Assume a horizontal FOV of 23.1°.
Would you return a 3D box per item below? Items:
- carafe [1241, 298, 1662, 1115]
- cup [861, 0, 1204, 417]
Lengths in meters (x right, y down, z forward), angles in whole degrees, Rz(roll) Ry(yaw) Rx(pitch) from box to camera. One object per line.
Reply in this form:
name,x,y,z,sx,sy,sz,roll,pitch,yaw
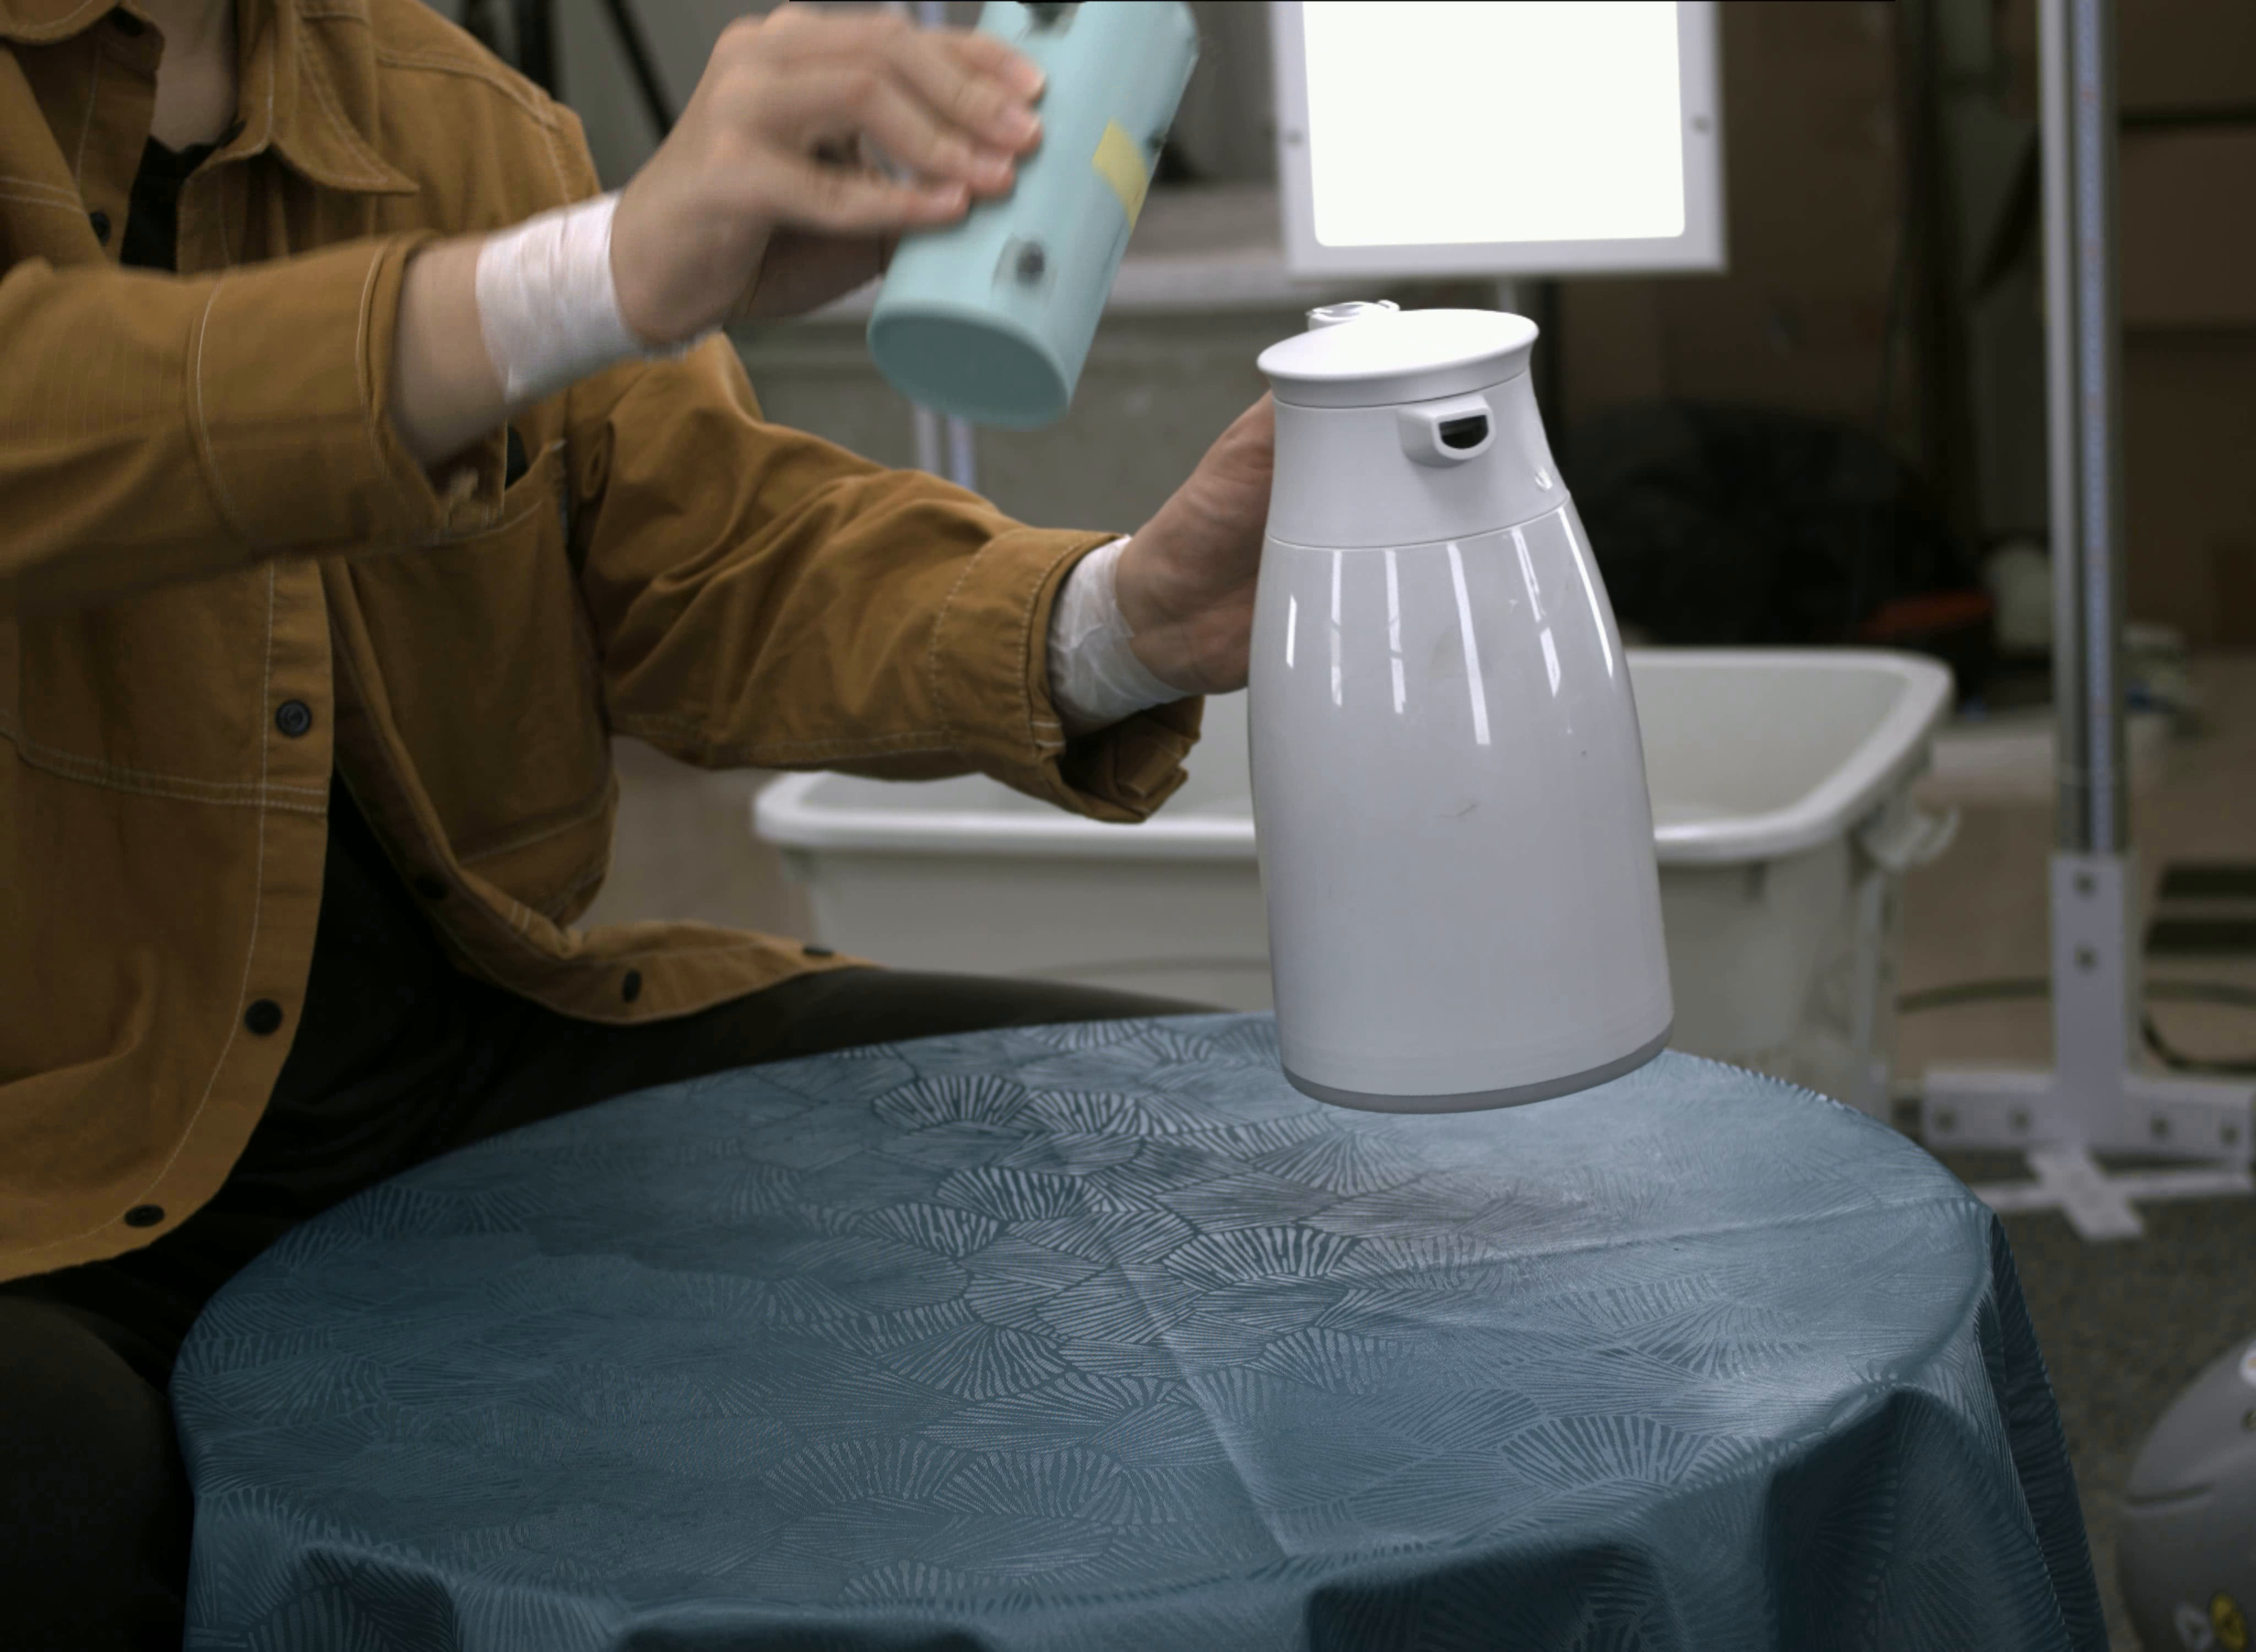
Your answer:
carafe,0.094,-0.047,1.808,0.131,0.249,0.169,-10,14,-12
cup,-0.028,-0.191,1.614,0.068,0.066,0.131,4,58,30
